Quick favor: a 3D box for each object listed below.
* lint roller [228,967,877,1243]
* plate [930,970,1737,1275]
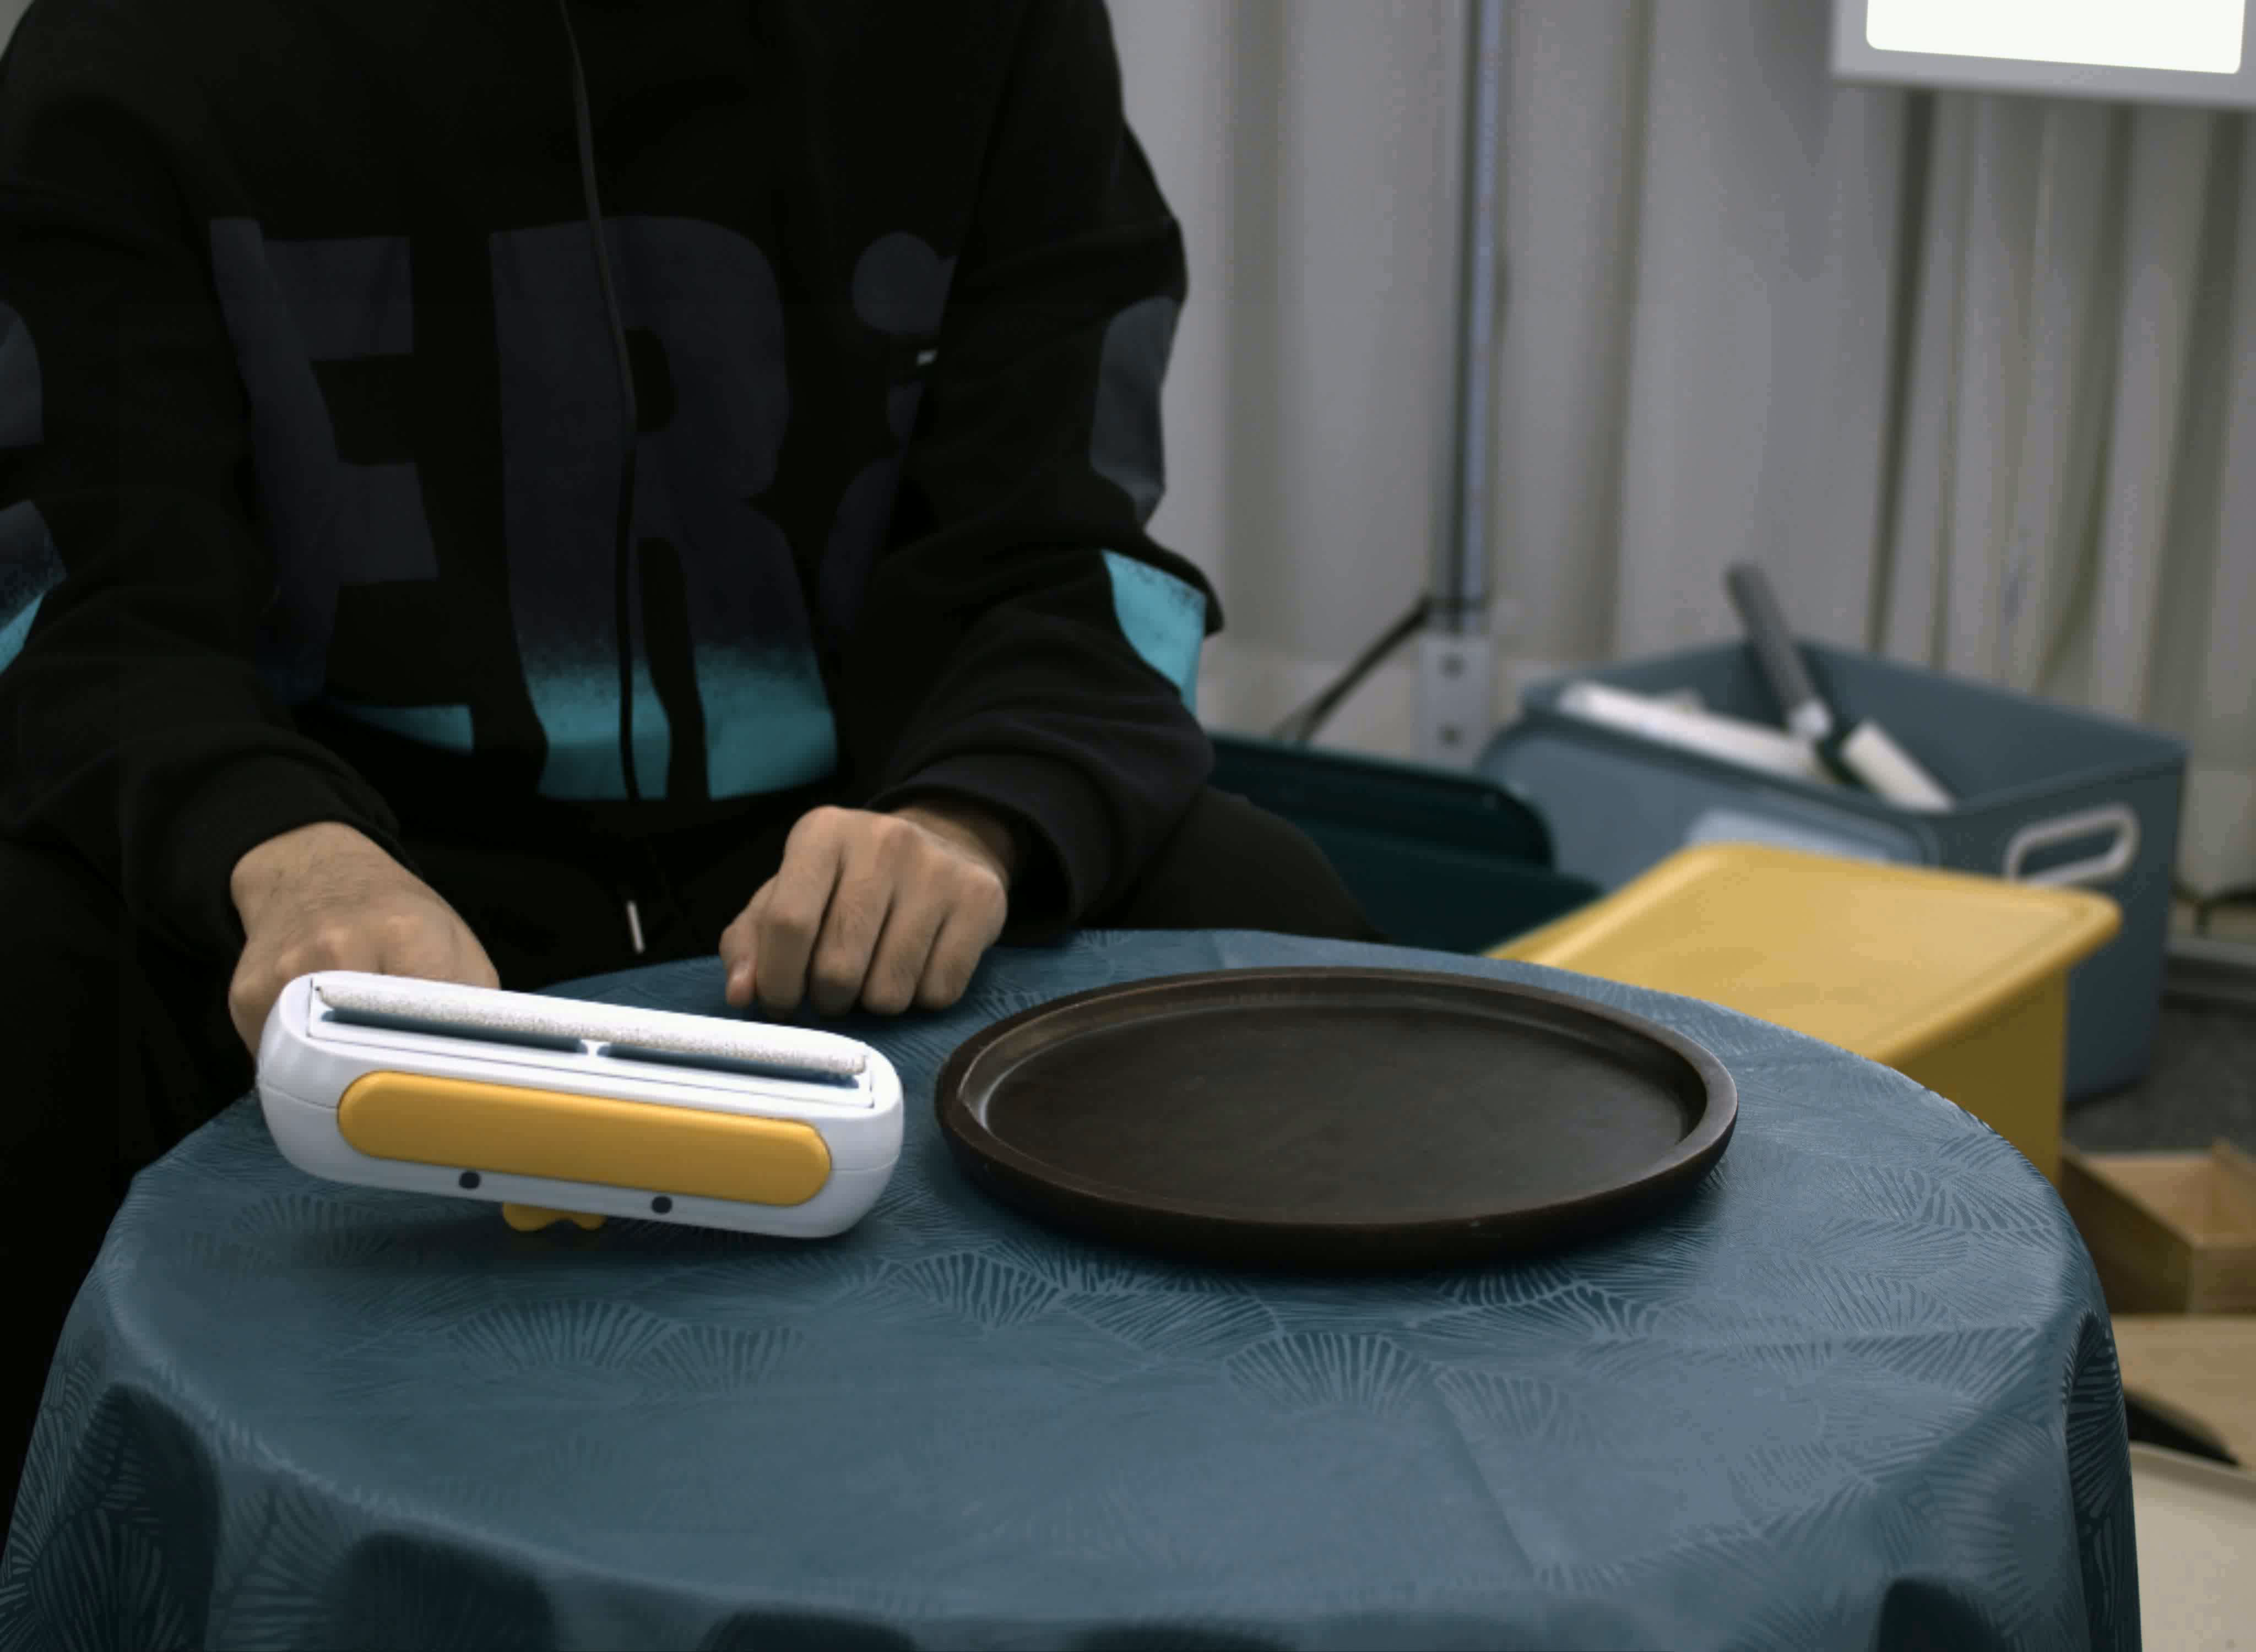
[{"bbox_3d":[-0.175,0.075,1.622,0.192,0.075,0.191,5,13,-6],"label":"lint roller"},{"bbox_3d":[0.064,0.091,1.655,0.254,0.029,0.253,0,14,0],"label":"plate"}]
